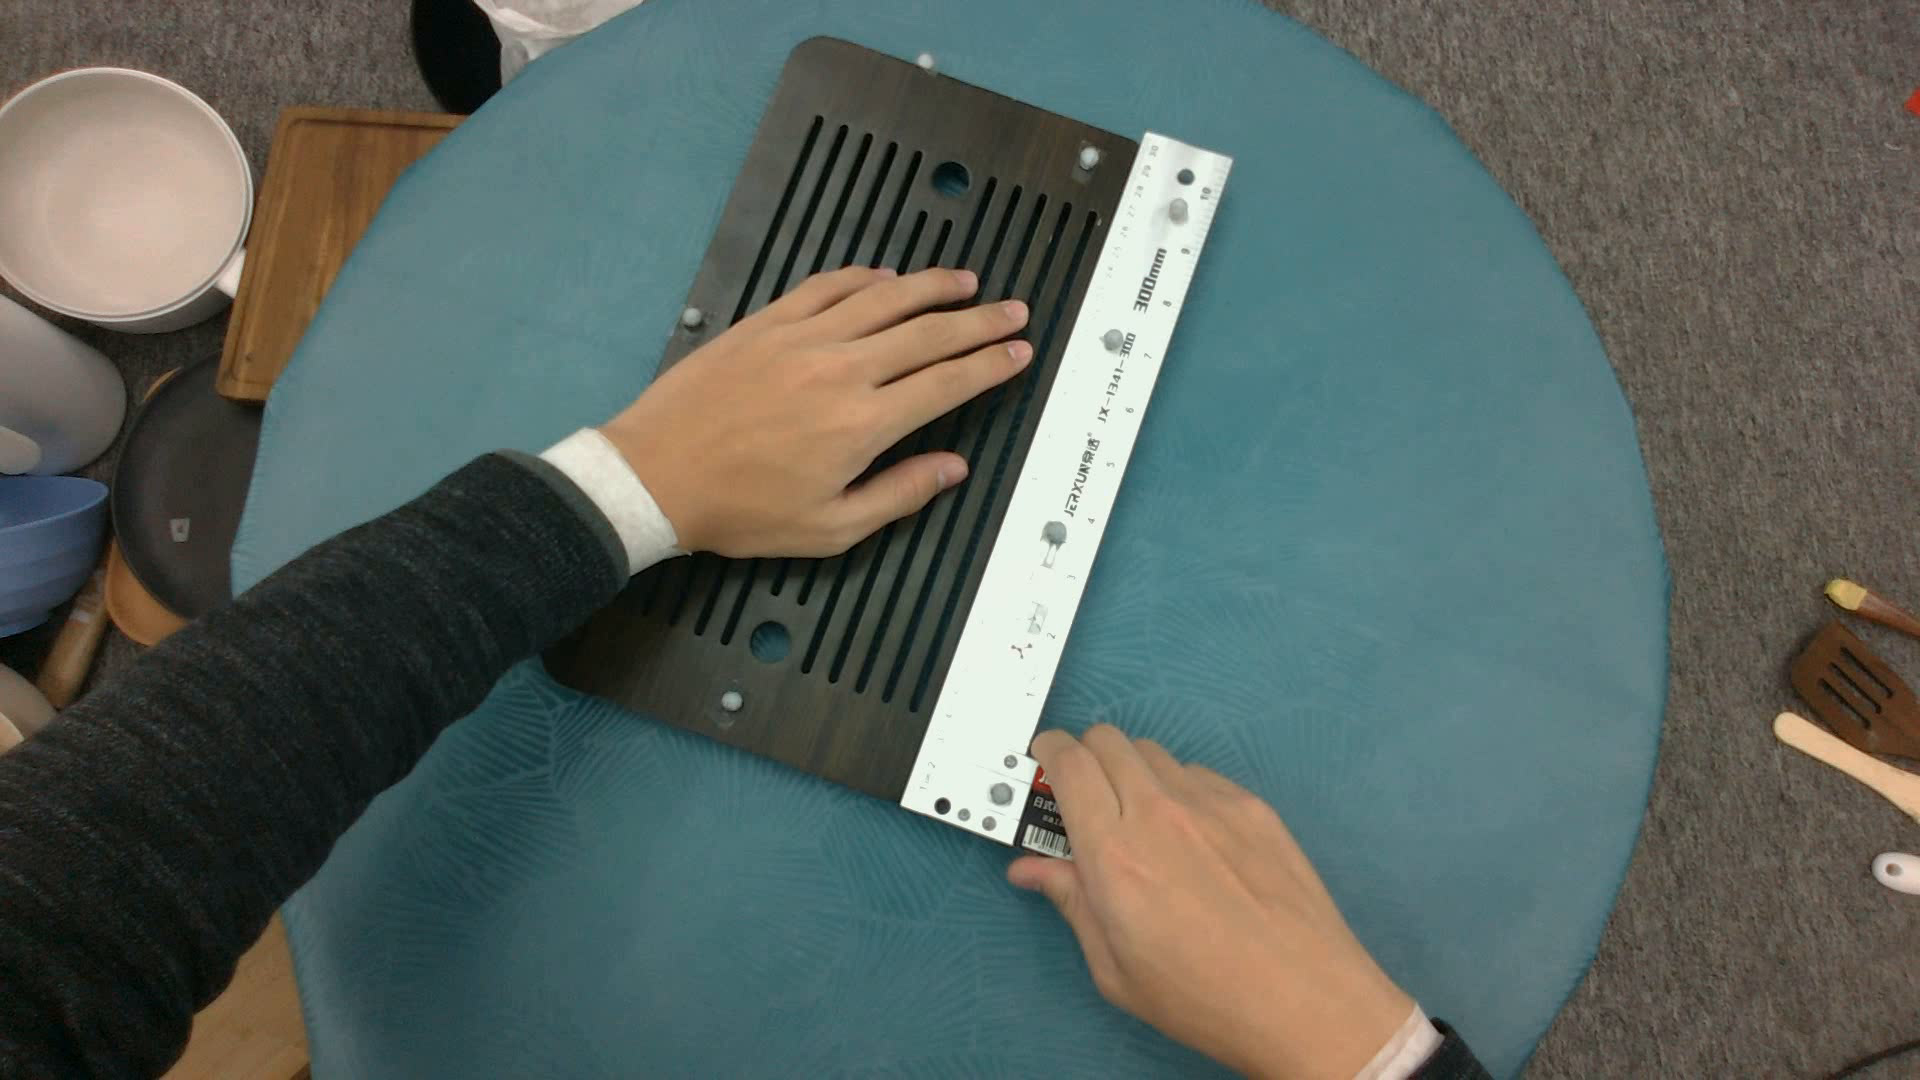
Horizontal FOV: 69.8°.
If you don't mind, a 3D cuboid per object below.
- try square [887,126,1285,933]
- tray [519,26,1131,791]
[{"bbox_3d":[0.092,-0.016,0.564,0.152,0.016,0.313,19,76,4],"label":"try square"},{"bbox_3d":[-0.051,-0.064,0.585,0.170,0.018,0.306,19,78,2],"label":"tray"}]
